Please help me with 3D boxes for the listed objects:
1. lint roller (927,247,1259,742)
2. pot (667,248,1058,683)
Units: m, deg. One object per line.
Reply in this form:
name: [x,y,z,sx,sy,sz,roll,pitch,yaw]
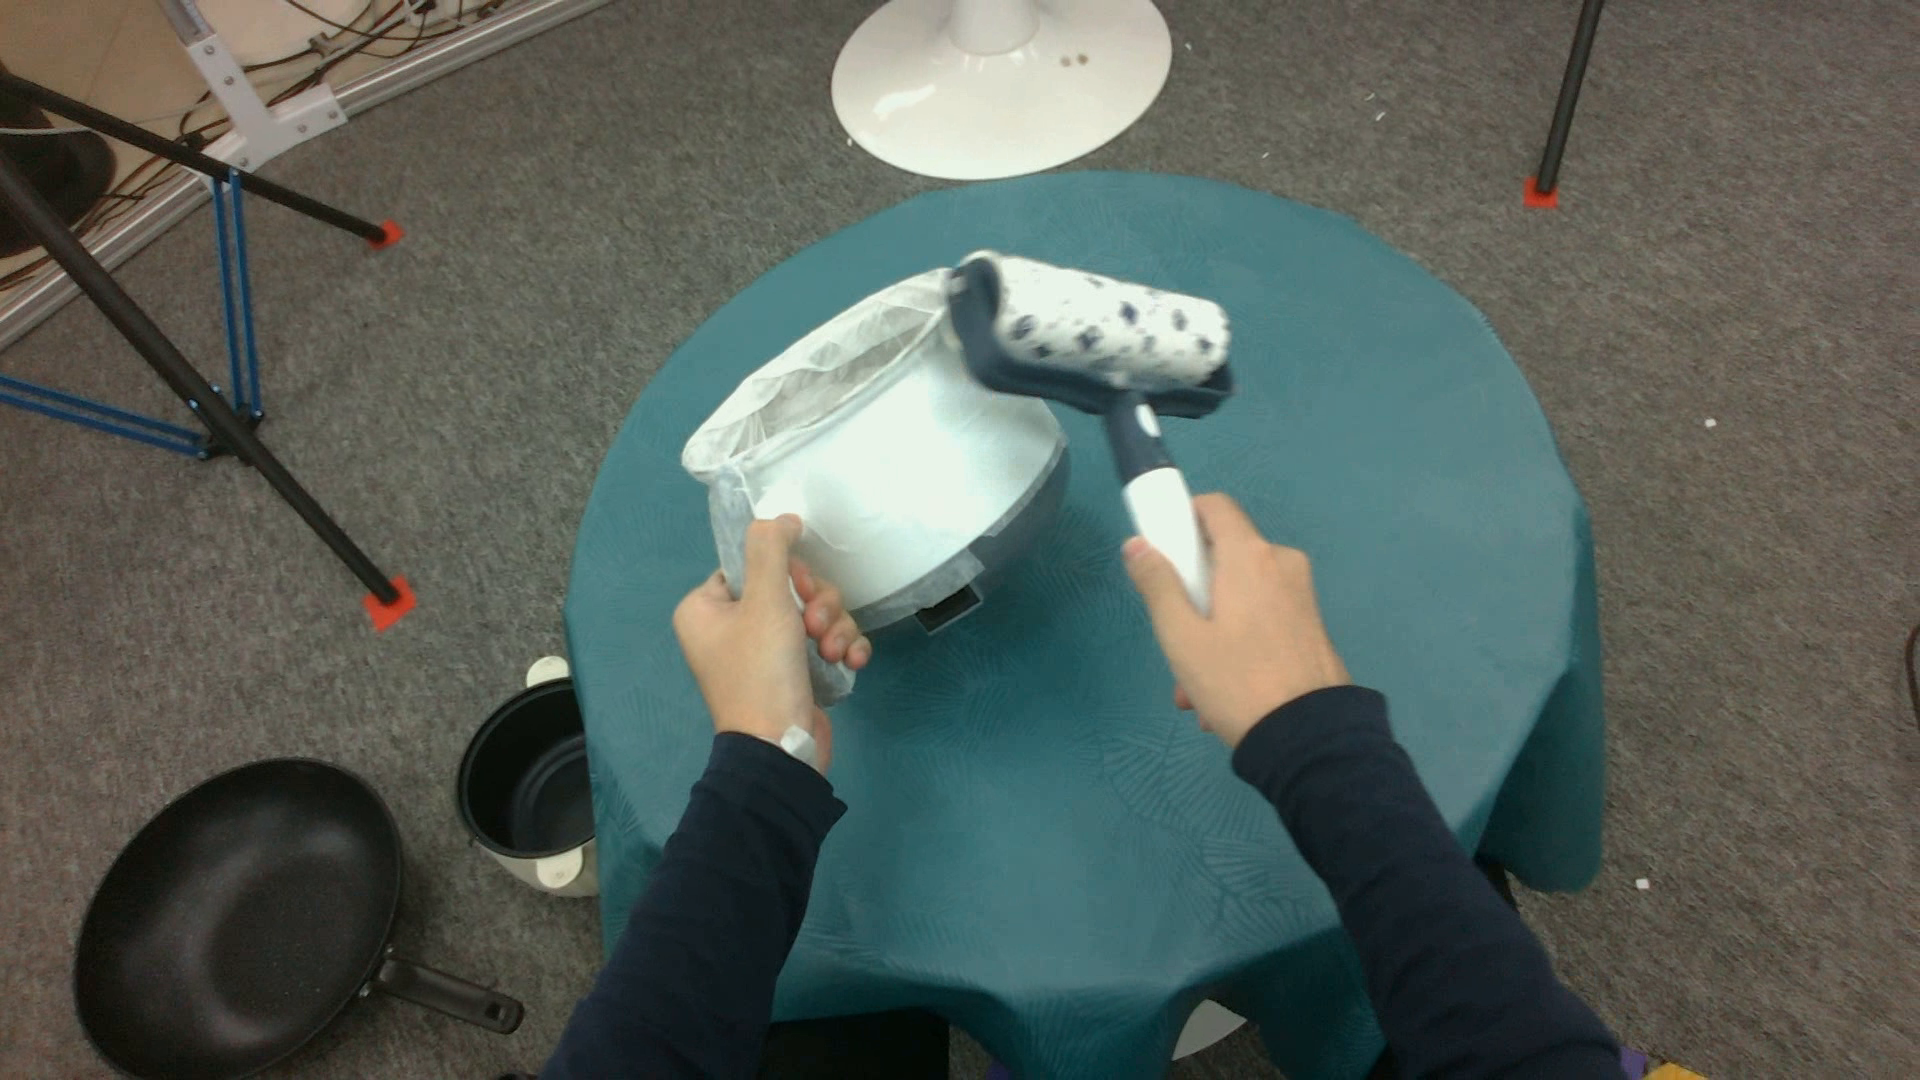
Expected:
lint roller: [0.091,-0.025,0.651,0.177,0.050,0.247,1,58,-43]
pot: [-0.057,-0.036,0.719,0.178,0.136,0.235,-22,22,37]
